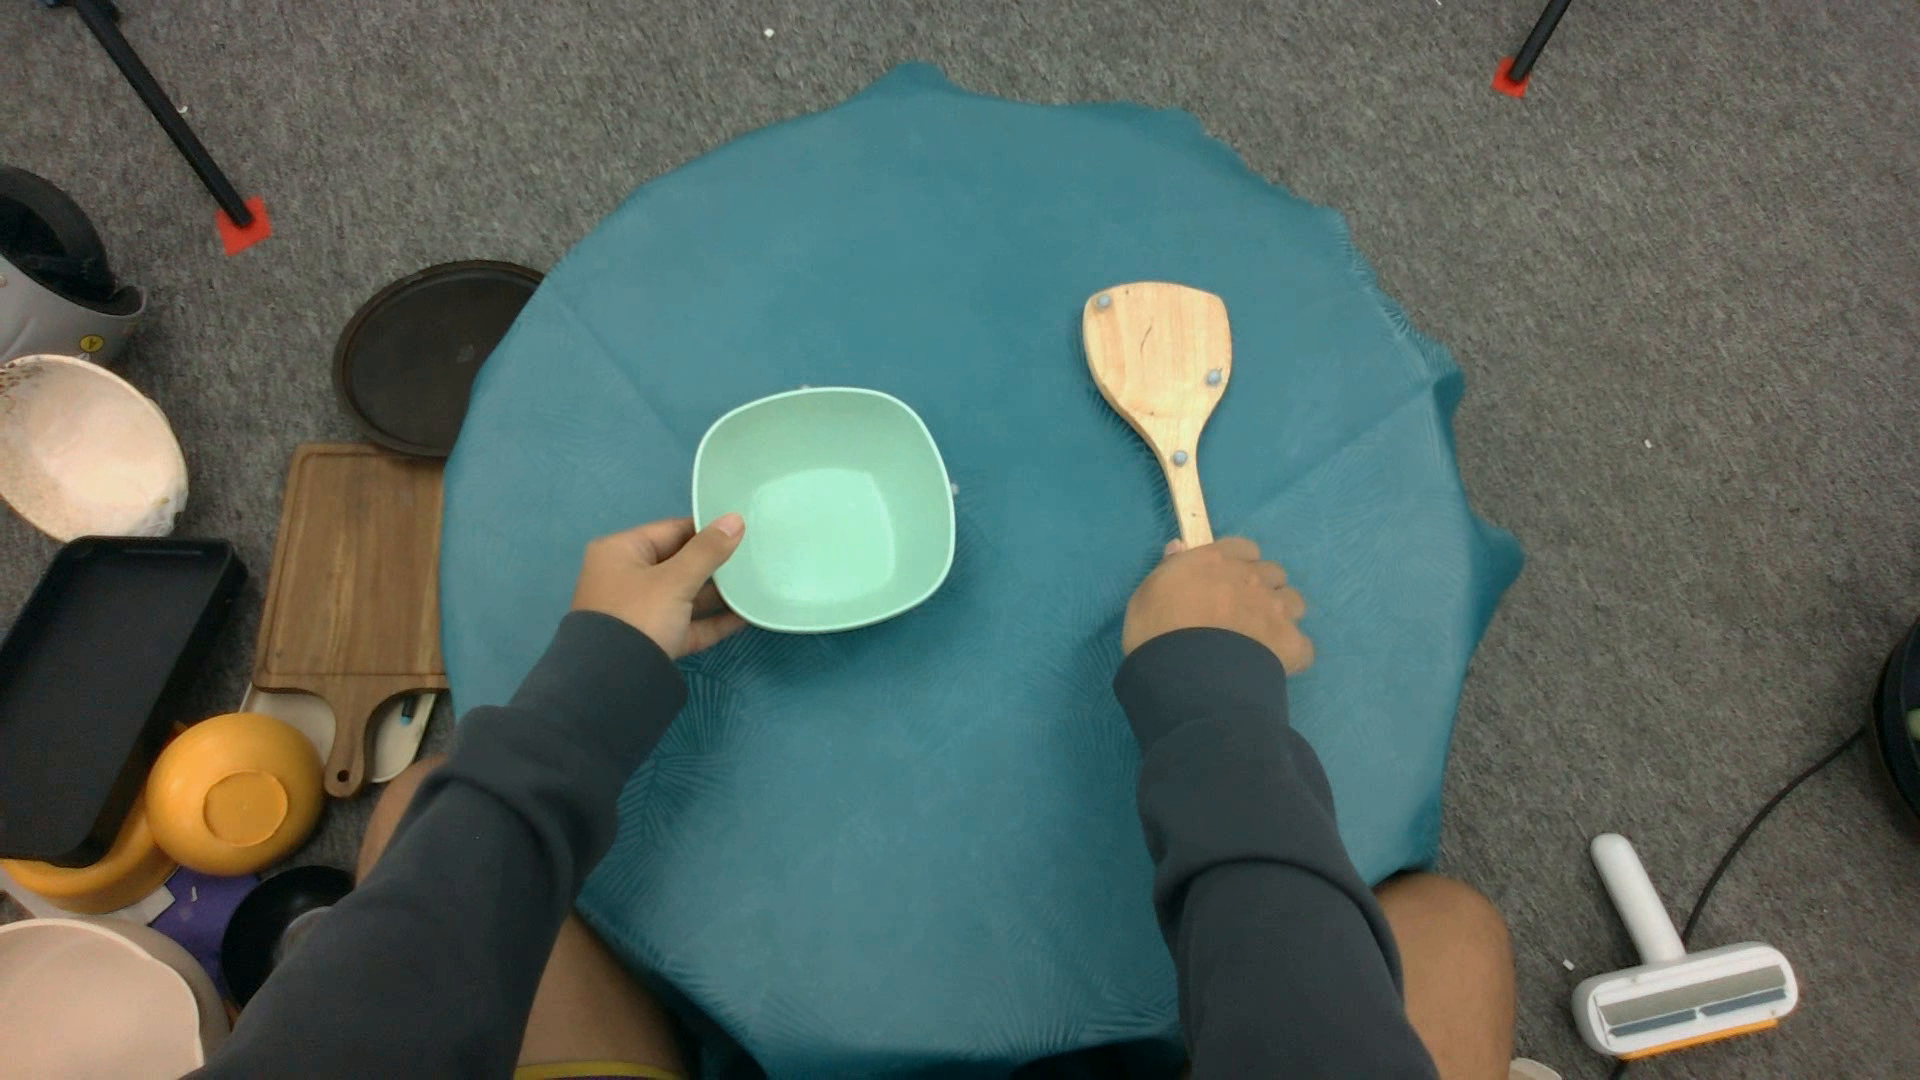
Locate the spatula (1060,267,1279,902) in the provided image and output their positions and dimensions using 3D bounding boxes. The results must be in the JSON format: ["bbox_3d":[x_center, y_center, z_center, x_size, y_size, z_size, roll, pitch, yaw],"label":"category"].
[{"bbox_3d":[0.130,0.007,0.779,0.096,0.018,0.392,-6,63,-5],"label":"spatula"}]

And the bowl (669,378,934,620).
[{"bbox_3d":[-0.087,-0.015,0.761,0.151,0.058,0.152,3,68,-6],"label":"bowl"}]
